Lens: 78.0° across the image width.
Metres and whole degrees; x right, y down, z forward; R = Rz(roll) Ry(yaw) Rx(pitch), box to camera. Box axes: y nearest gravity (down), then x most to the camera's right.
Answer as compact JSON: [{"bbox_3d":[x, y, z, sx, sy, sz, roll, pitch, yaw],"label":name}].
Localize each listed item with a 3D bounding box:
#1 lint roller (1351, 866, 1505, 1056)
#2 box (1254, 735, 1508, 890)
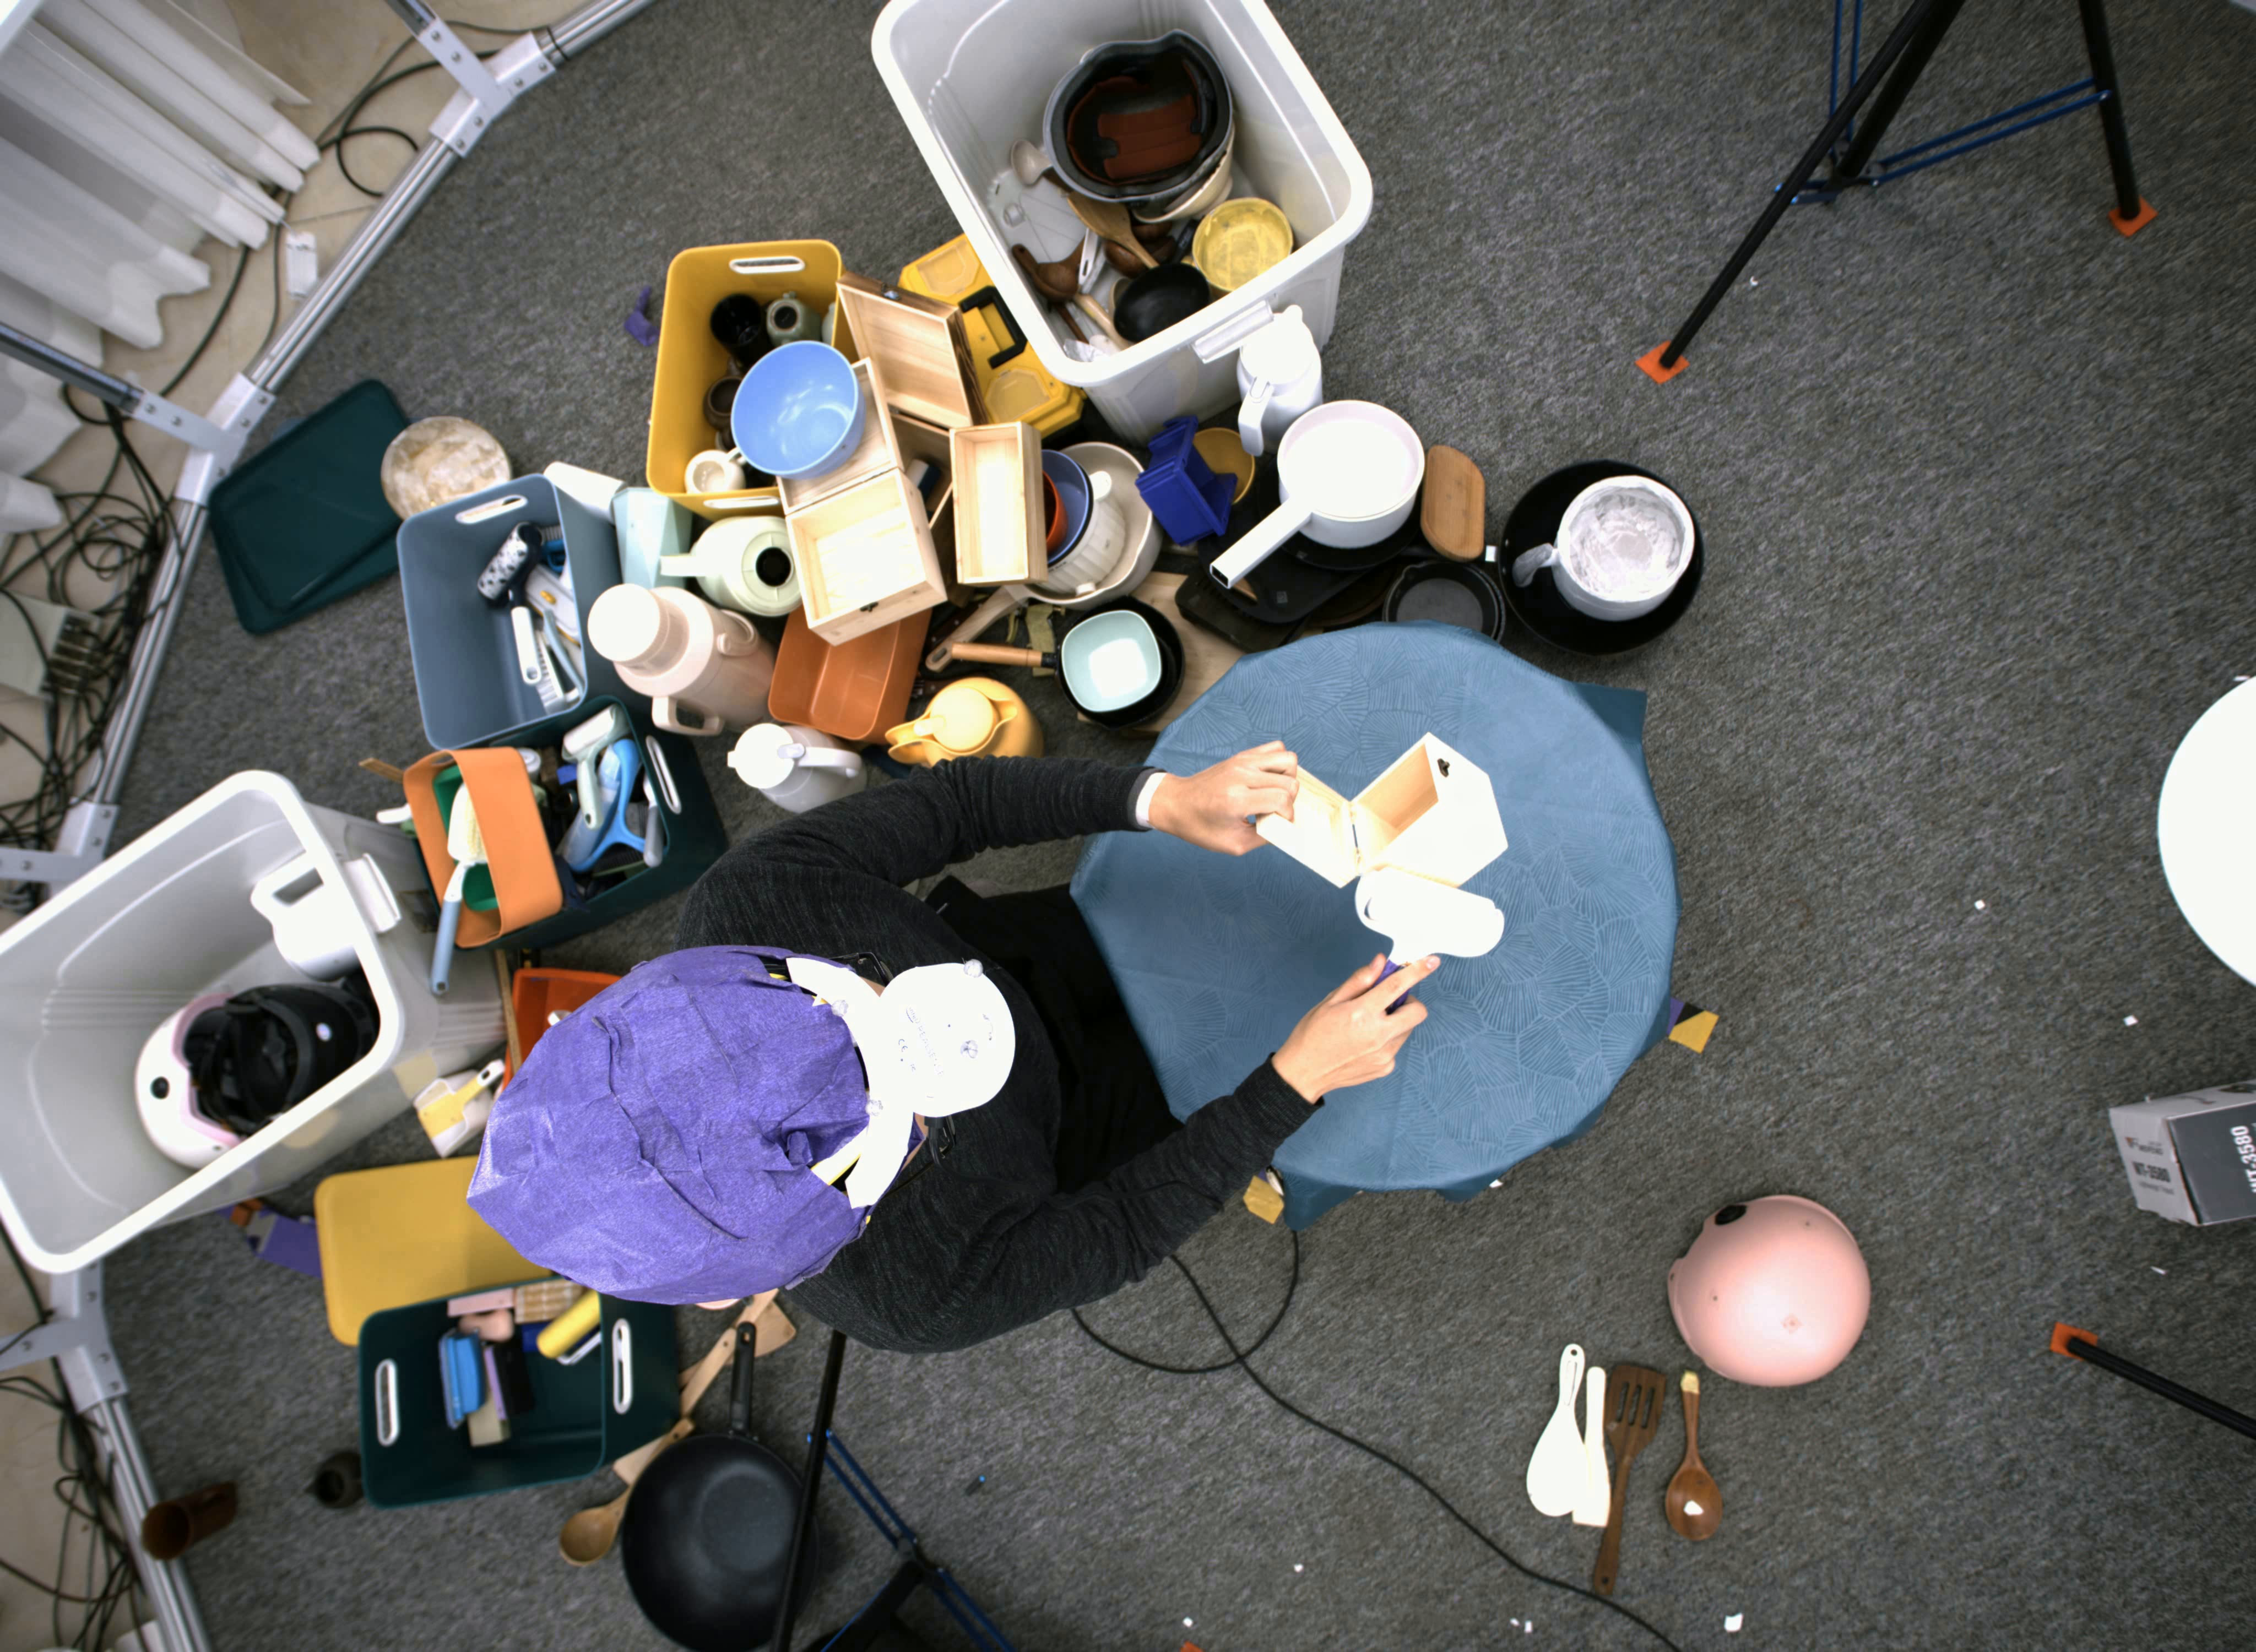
[{"bbox_3d":[0.240,0.128,1.209,0.133,0.049,0.183,18,107,-13],"label":"lint roller"},{"bbox_3d":[0.218,-0.023,1.205,0.185,0.100,0.137,31,125,-22],"label":"box"}]
